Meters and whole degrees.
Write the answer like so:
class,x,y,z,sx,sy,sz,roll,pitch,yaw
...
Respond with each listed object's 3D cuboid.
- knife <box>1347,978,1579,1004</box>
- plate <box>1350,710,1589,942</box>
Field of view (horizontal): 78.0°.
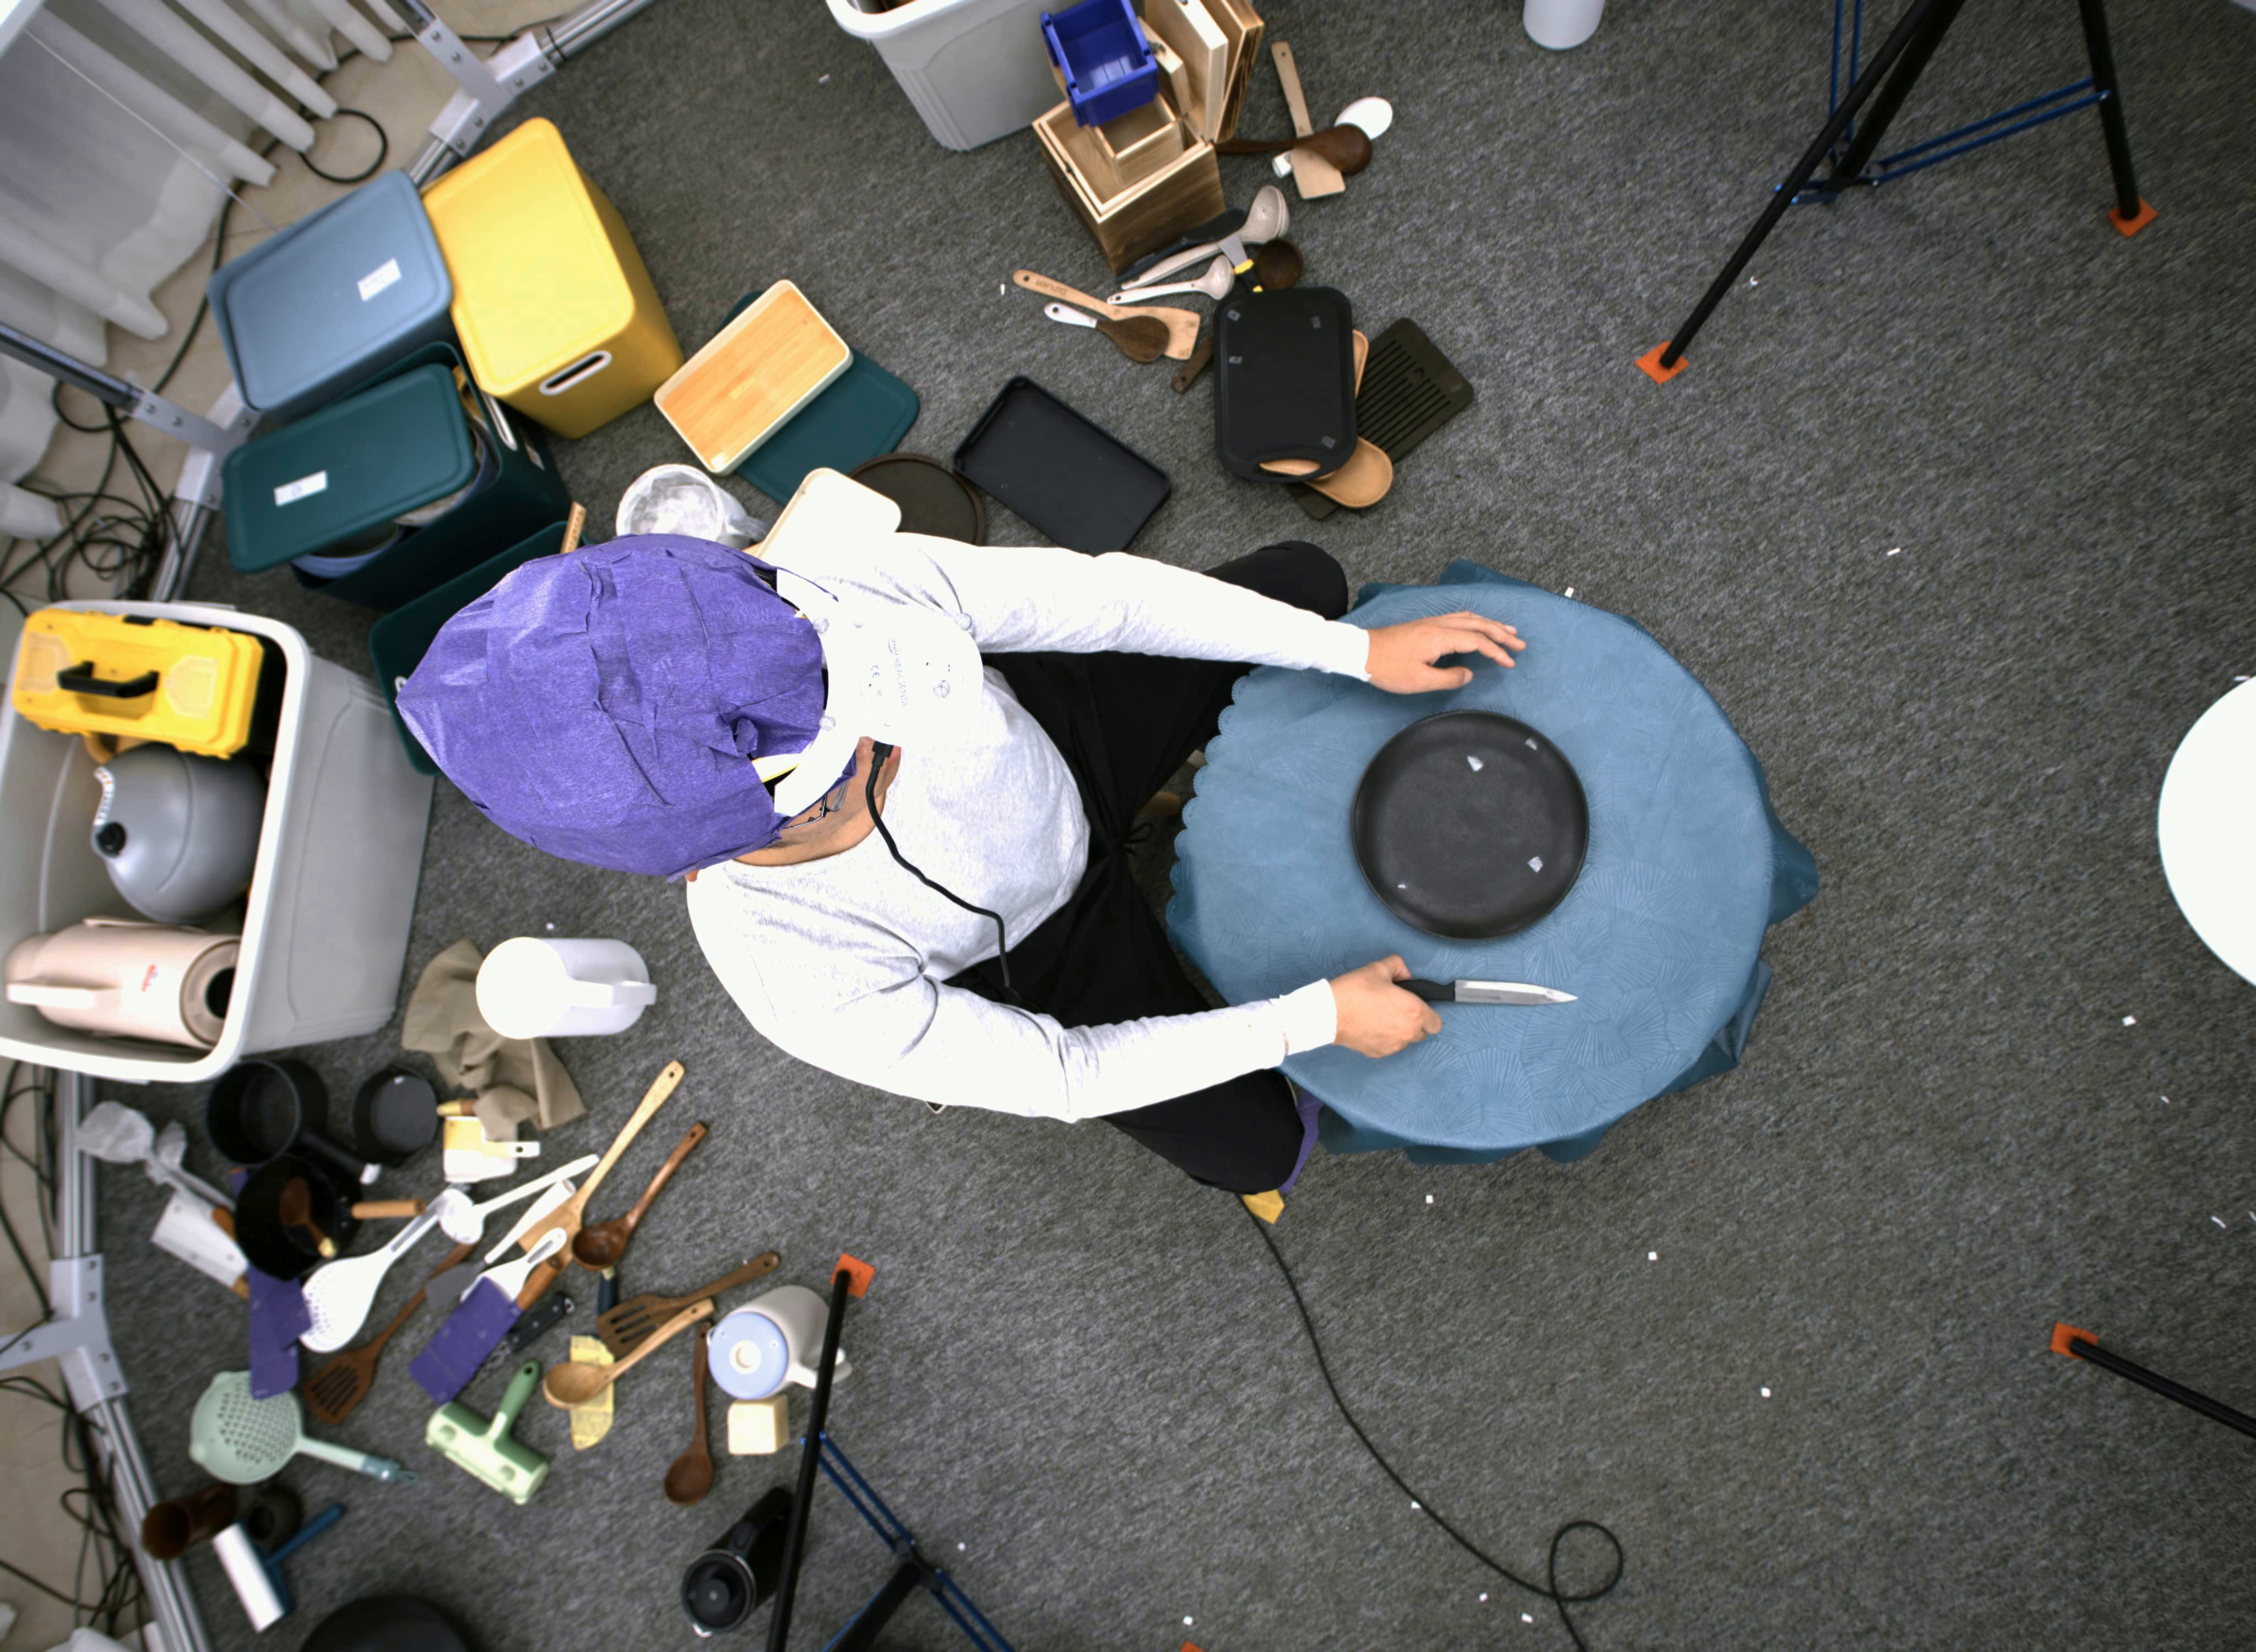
class,x,y,z,sx,sy,sz,roll,pitch,yaw
knife,0.347,0.170,1.431,0.239,0.016,0.024,1,85,6
plate,0.355,-0.002,1.437,0.245,0.023,0.243,-1,87,11
